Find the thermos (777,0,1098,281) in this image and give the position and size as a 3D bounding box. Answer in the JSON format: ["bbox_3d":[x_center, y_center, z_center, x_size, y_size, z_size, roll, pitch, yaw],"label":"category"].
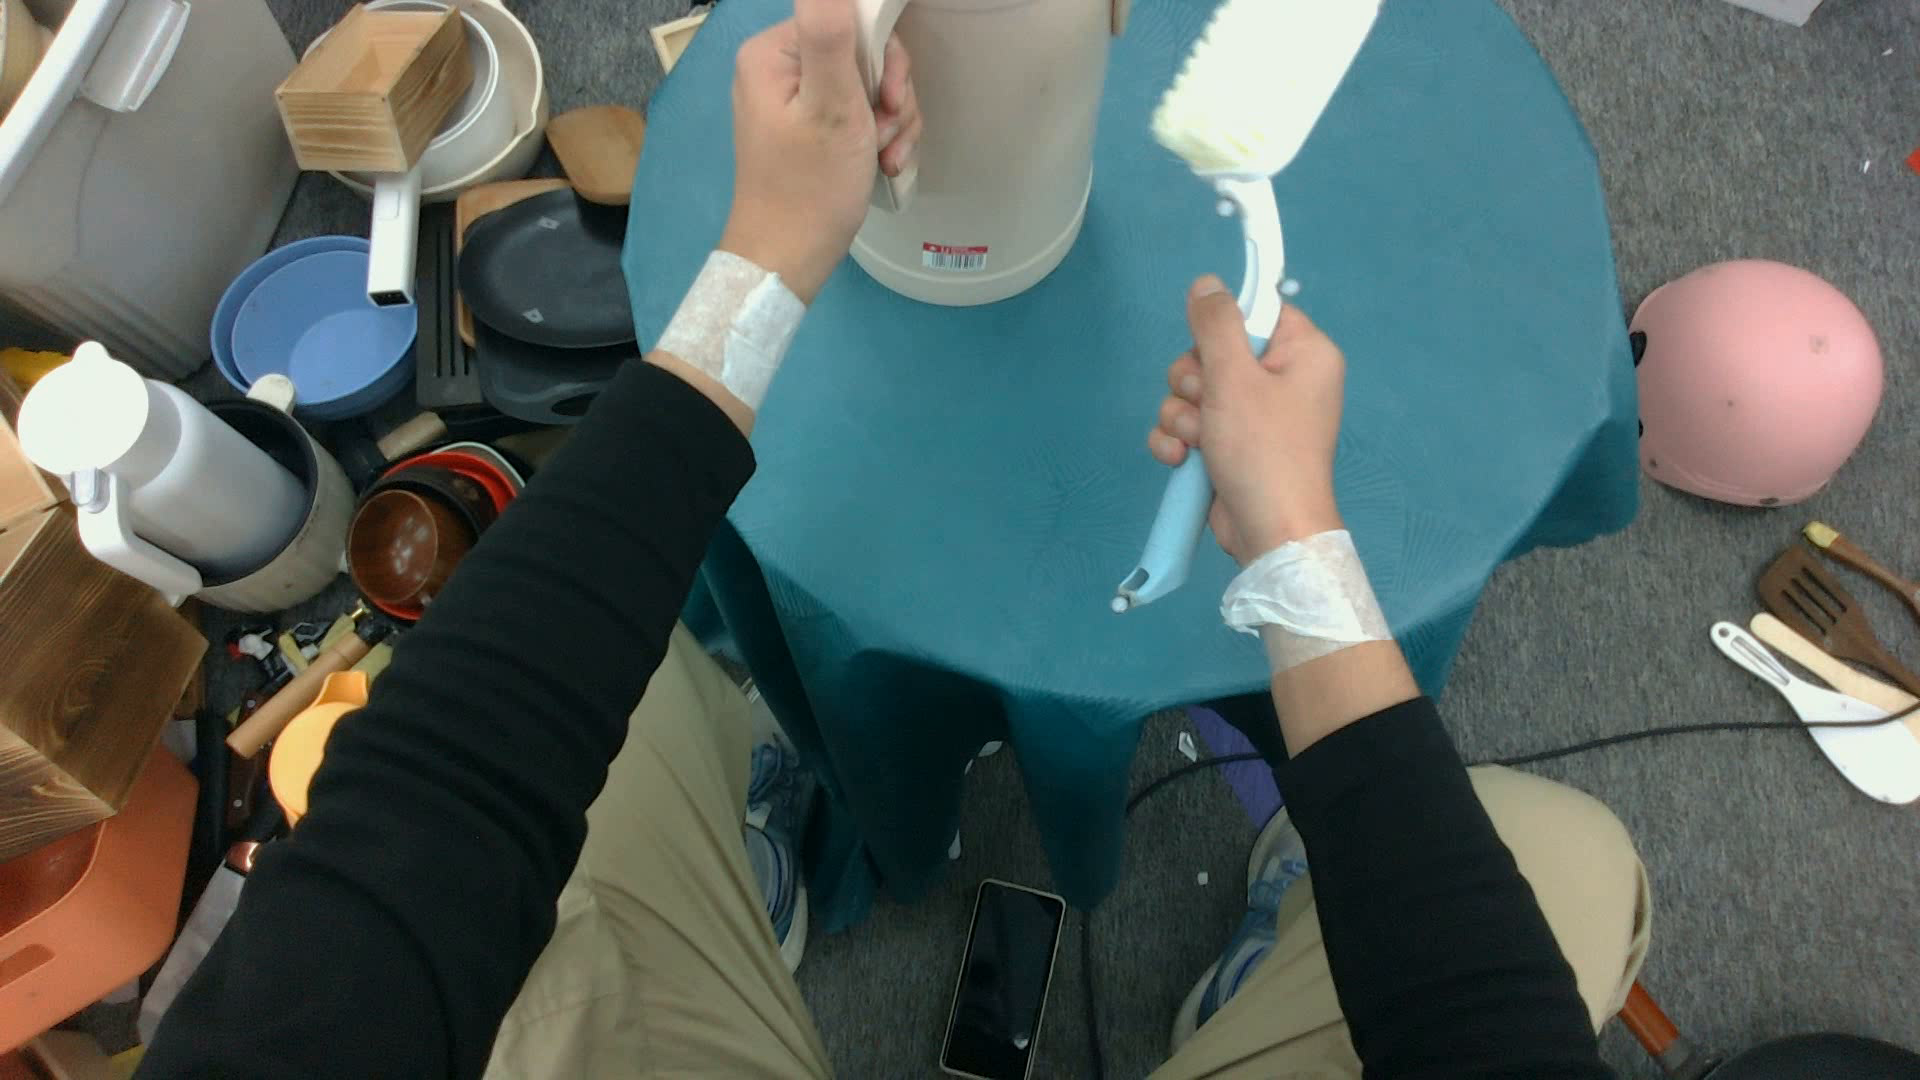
[{"bbox_3d":[-0.020,-0.274,0.650,0.175,0.405,0.207,22,73,4],"label":"thermos"}]

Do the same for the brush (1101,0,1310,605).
[{"bbox_3d":[0.088,-0.129,0.605,0.084,0.083,0.325,18,99,16],"label":"brush"}]
